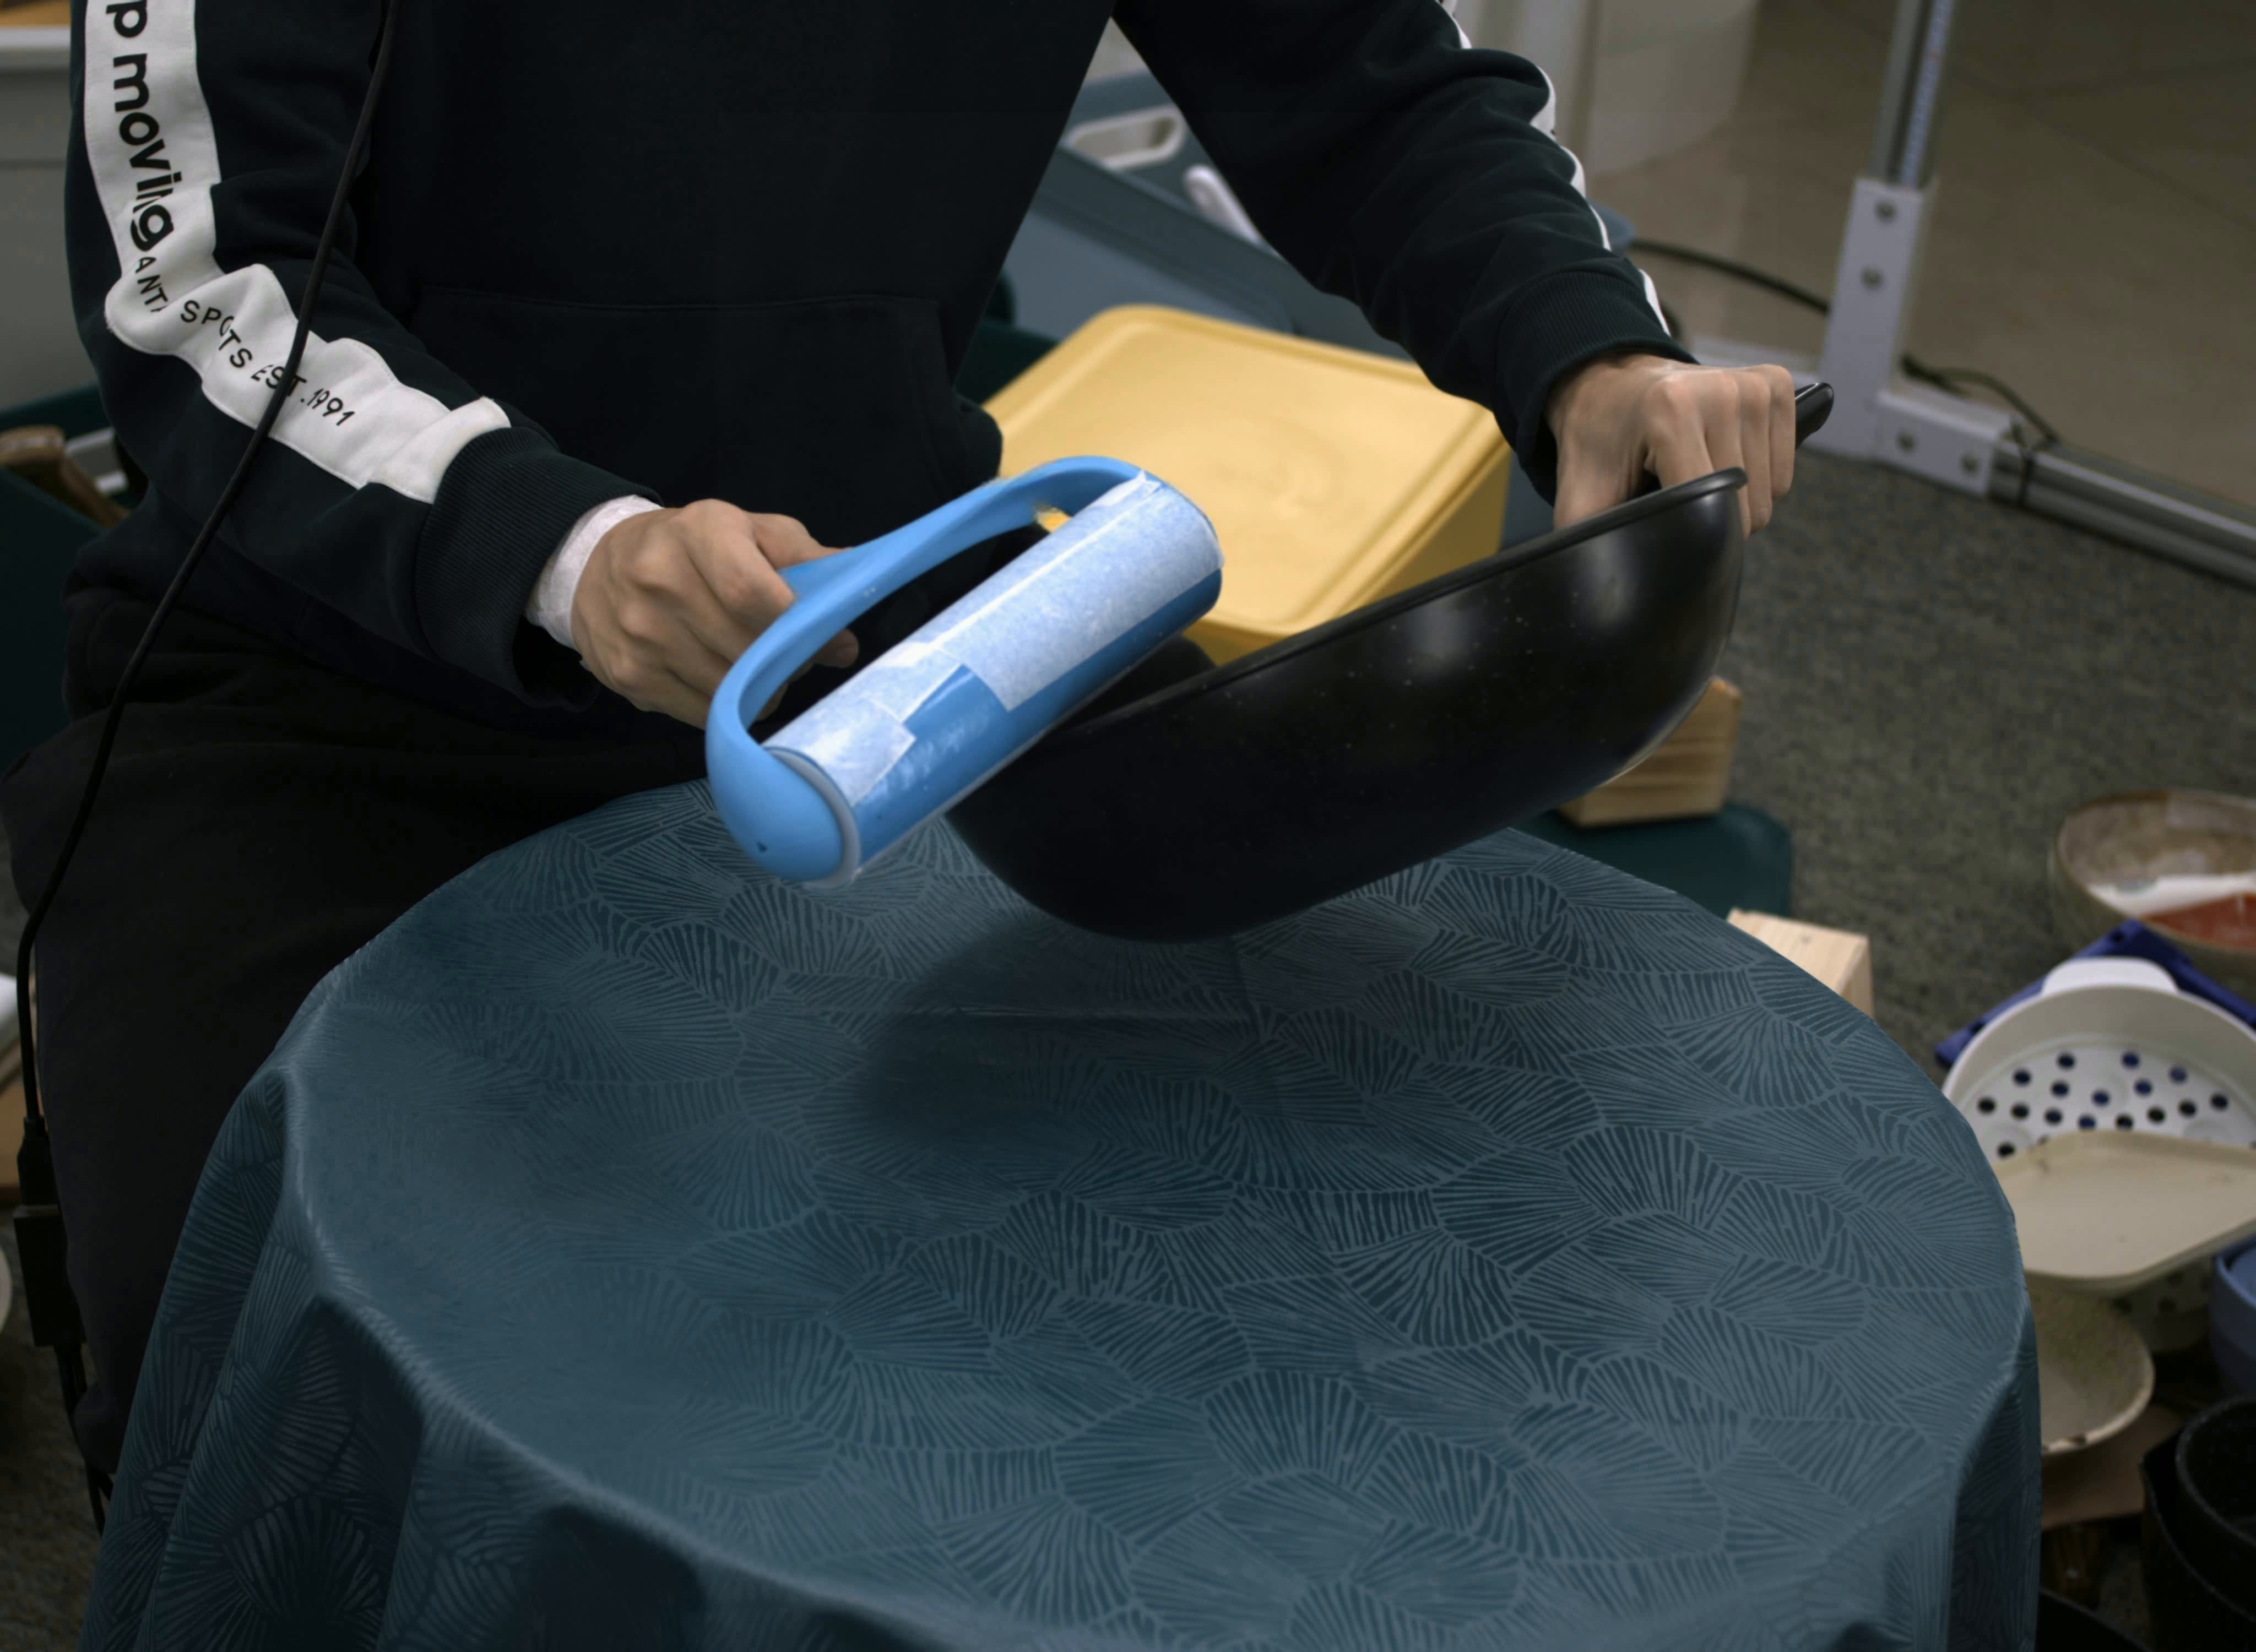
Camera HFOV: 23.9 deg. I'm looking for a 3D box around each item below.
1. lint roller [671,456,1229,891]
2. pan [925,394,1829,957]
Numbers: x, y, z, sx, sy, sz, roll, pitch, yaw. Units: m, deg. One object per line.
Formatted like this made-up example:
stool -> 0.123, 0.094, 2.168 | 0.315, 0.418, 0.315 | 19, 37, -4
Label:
lint roller -> -0.091, -0.057, 1.785 | 0.181, 0.067, 0.229 | 8, 36, 36
pan -> 0.132, -0.056, 1.908 | 0.311, 0.112, 0.475 | -22, 0, 43
